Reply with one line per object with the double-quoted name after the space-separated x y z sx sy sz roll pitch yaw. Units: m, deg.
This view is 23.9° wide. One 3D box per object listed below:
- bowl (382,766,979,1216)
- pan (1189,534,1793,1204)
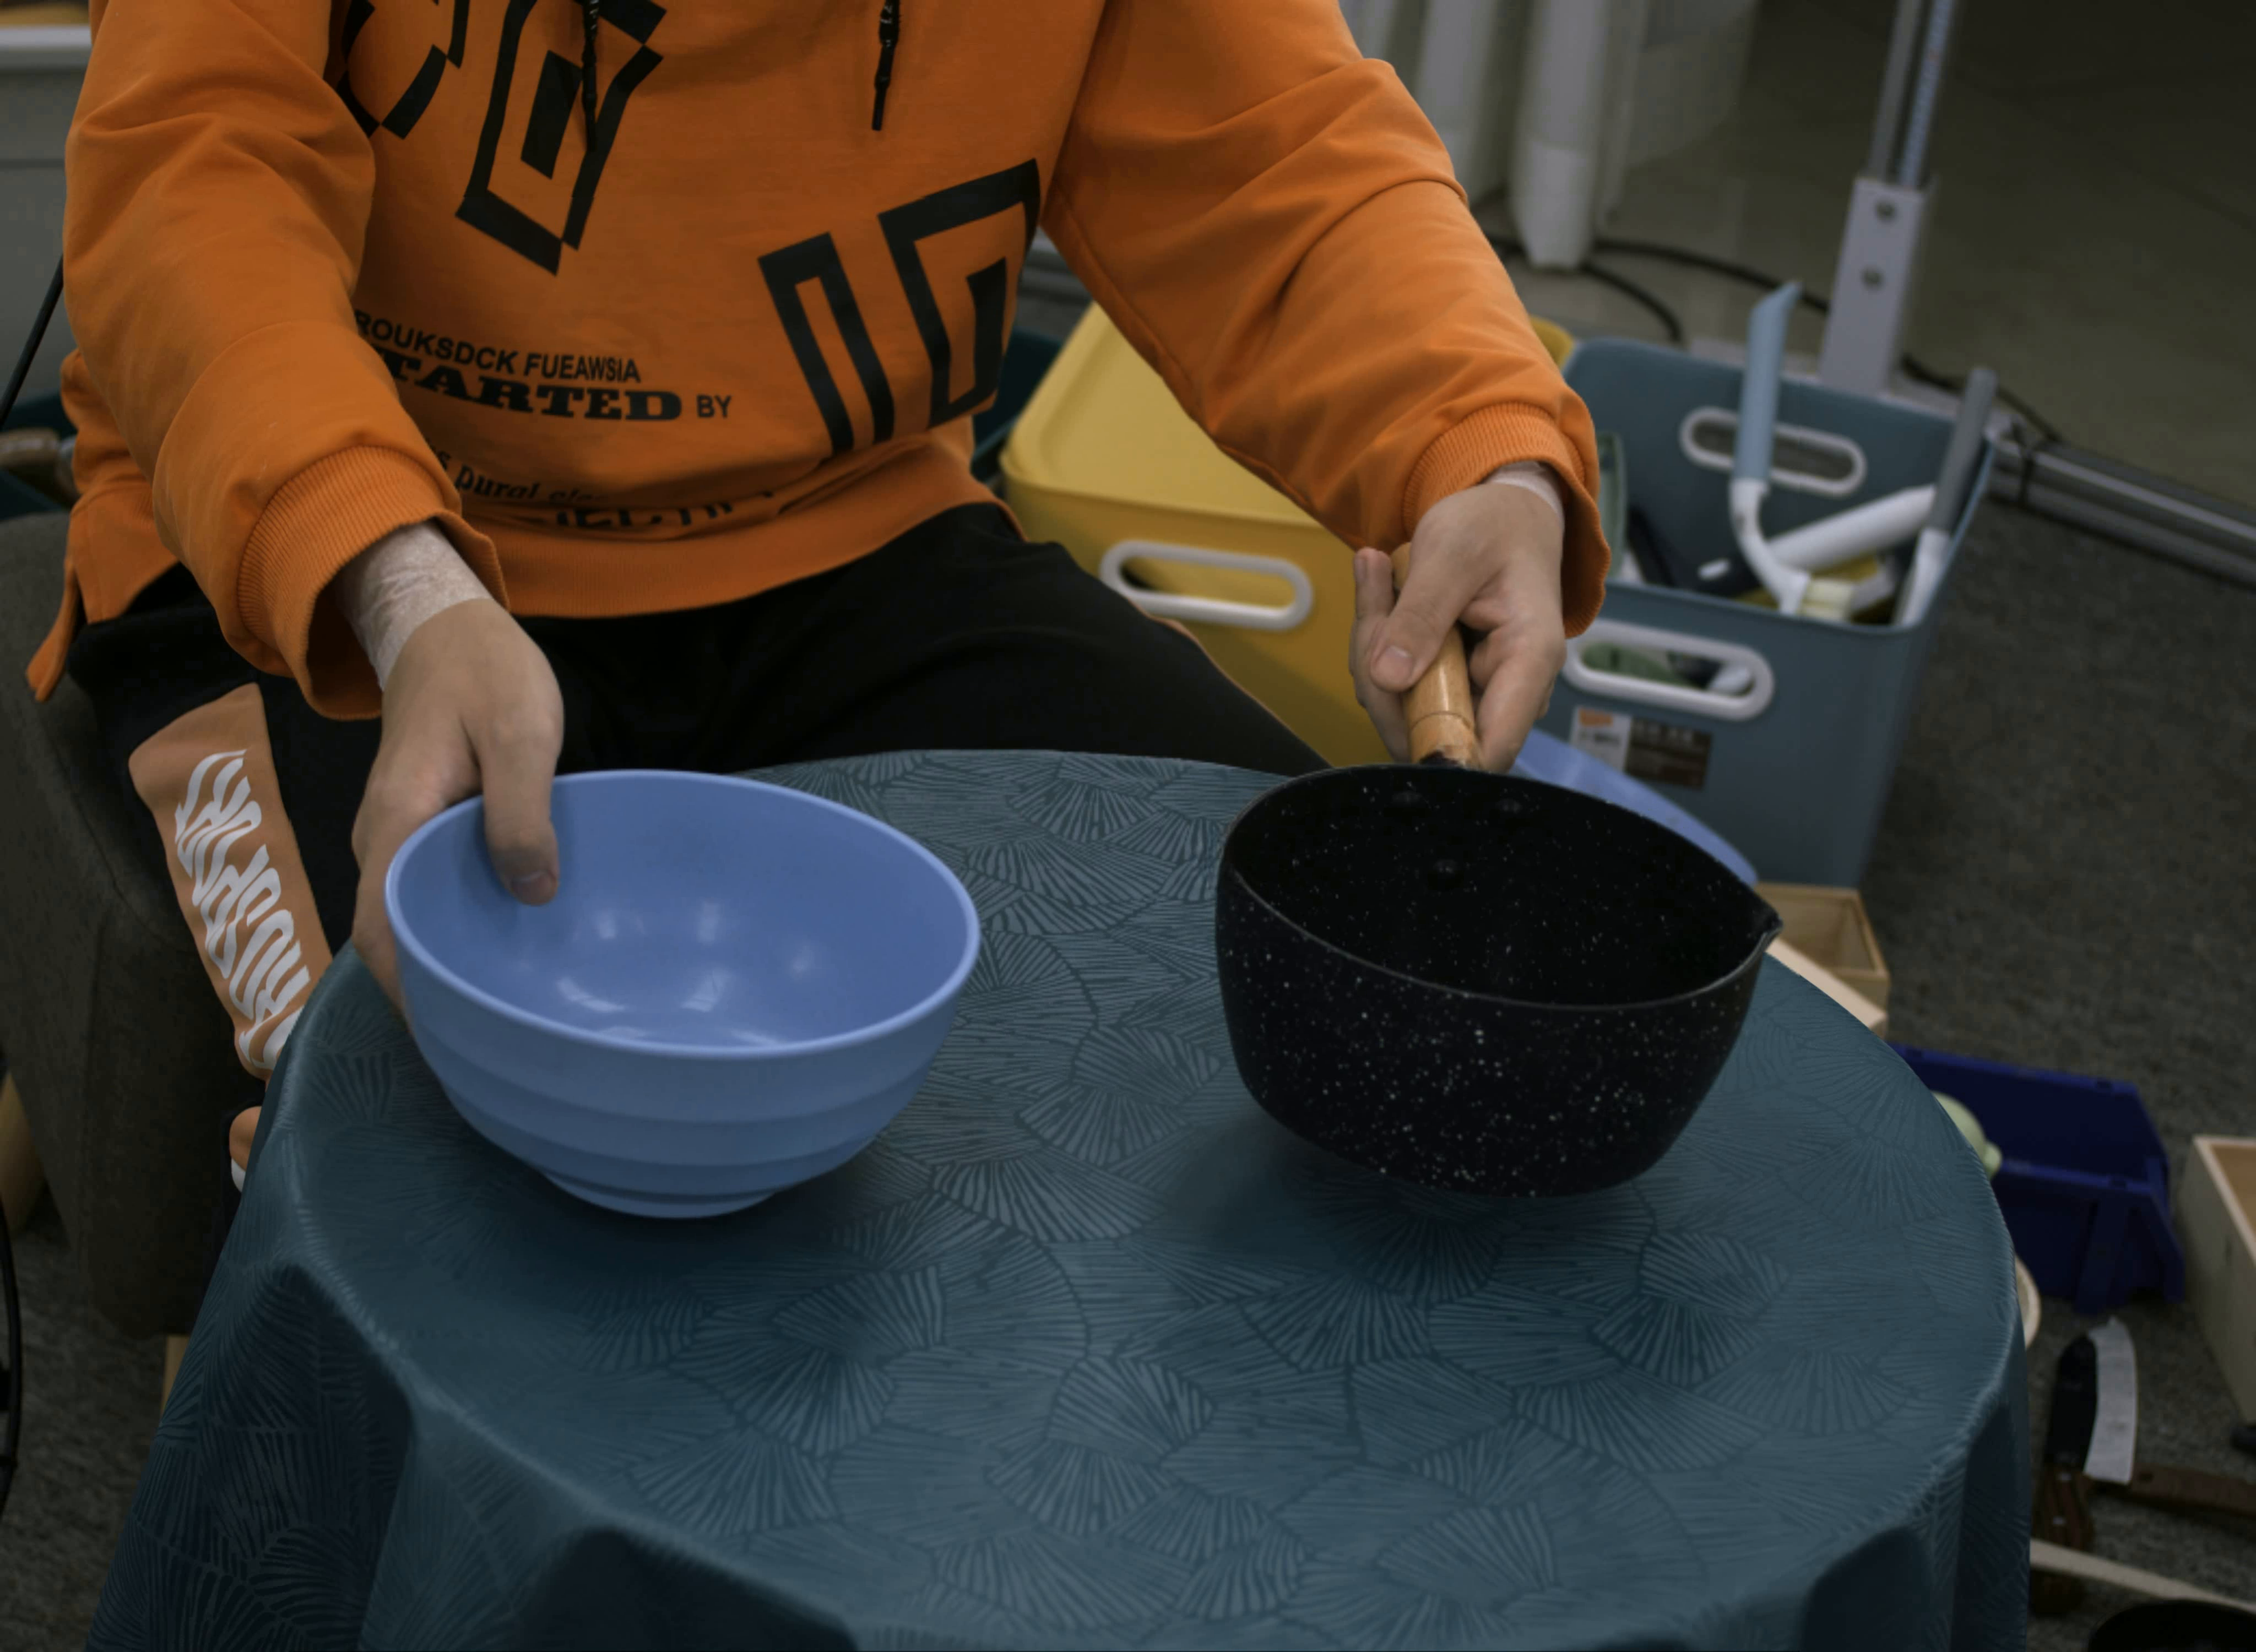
-0.151 0.065 1.765 0.196 0.095 0.198 5 27 -3 "bowl"
0.113 0.011 1.879 0.206 0.108 0.345 5 26 -8 "pan"
